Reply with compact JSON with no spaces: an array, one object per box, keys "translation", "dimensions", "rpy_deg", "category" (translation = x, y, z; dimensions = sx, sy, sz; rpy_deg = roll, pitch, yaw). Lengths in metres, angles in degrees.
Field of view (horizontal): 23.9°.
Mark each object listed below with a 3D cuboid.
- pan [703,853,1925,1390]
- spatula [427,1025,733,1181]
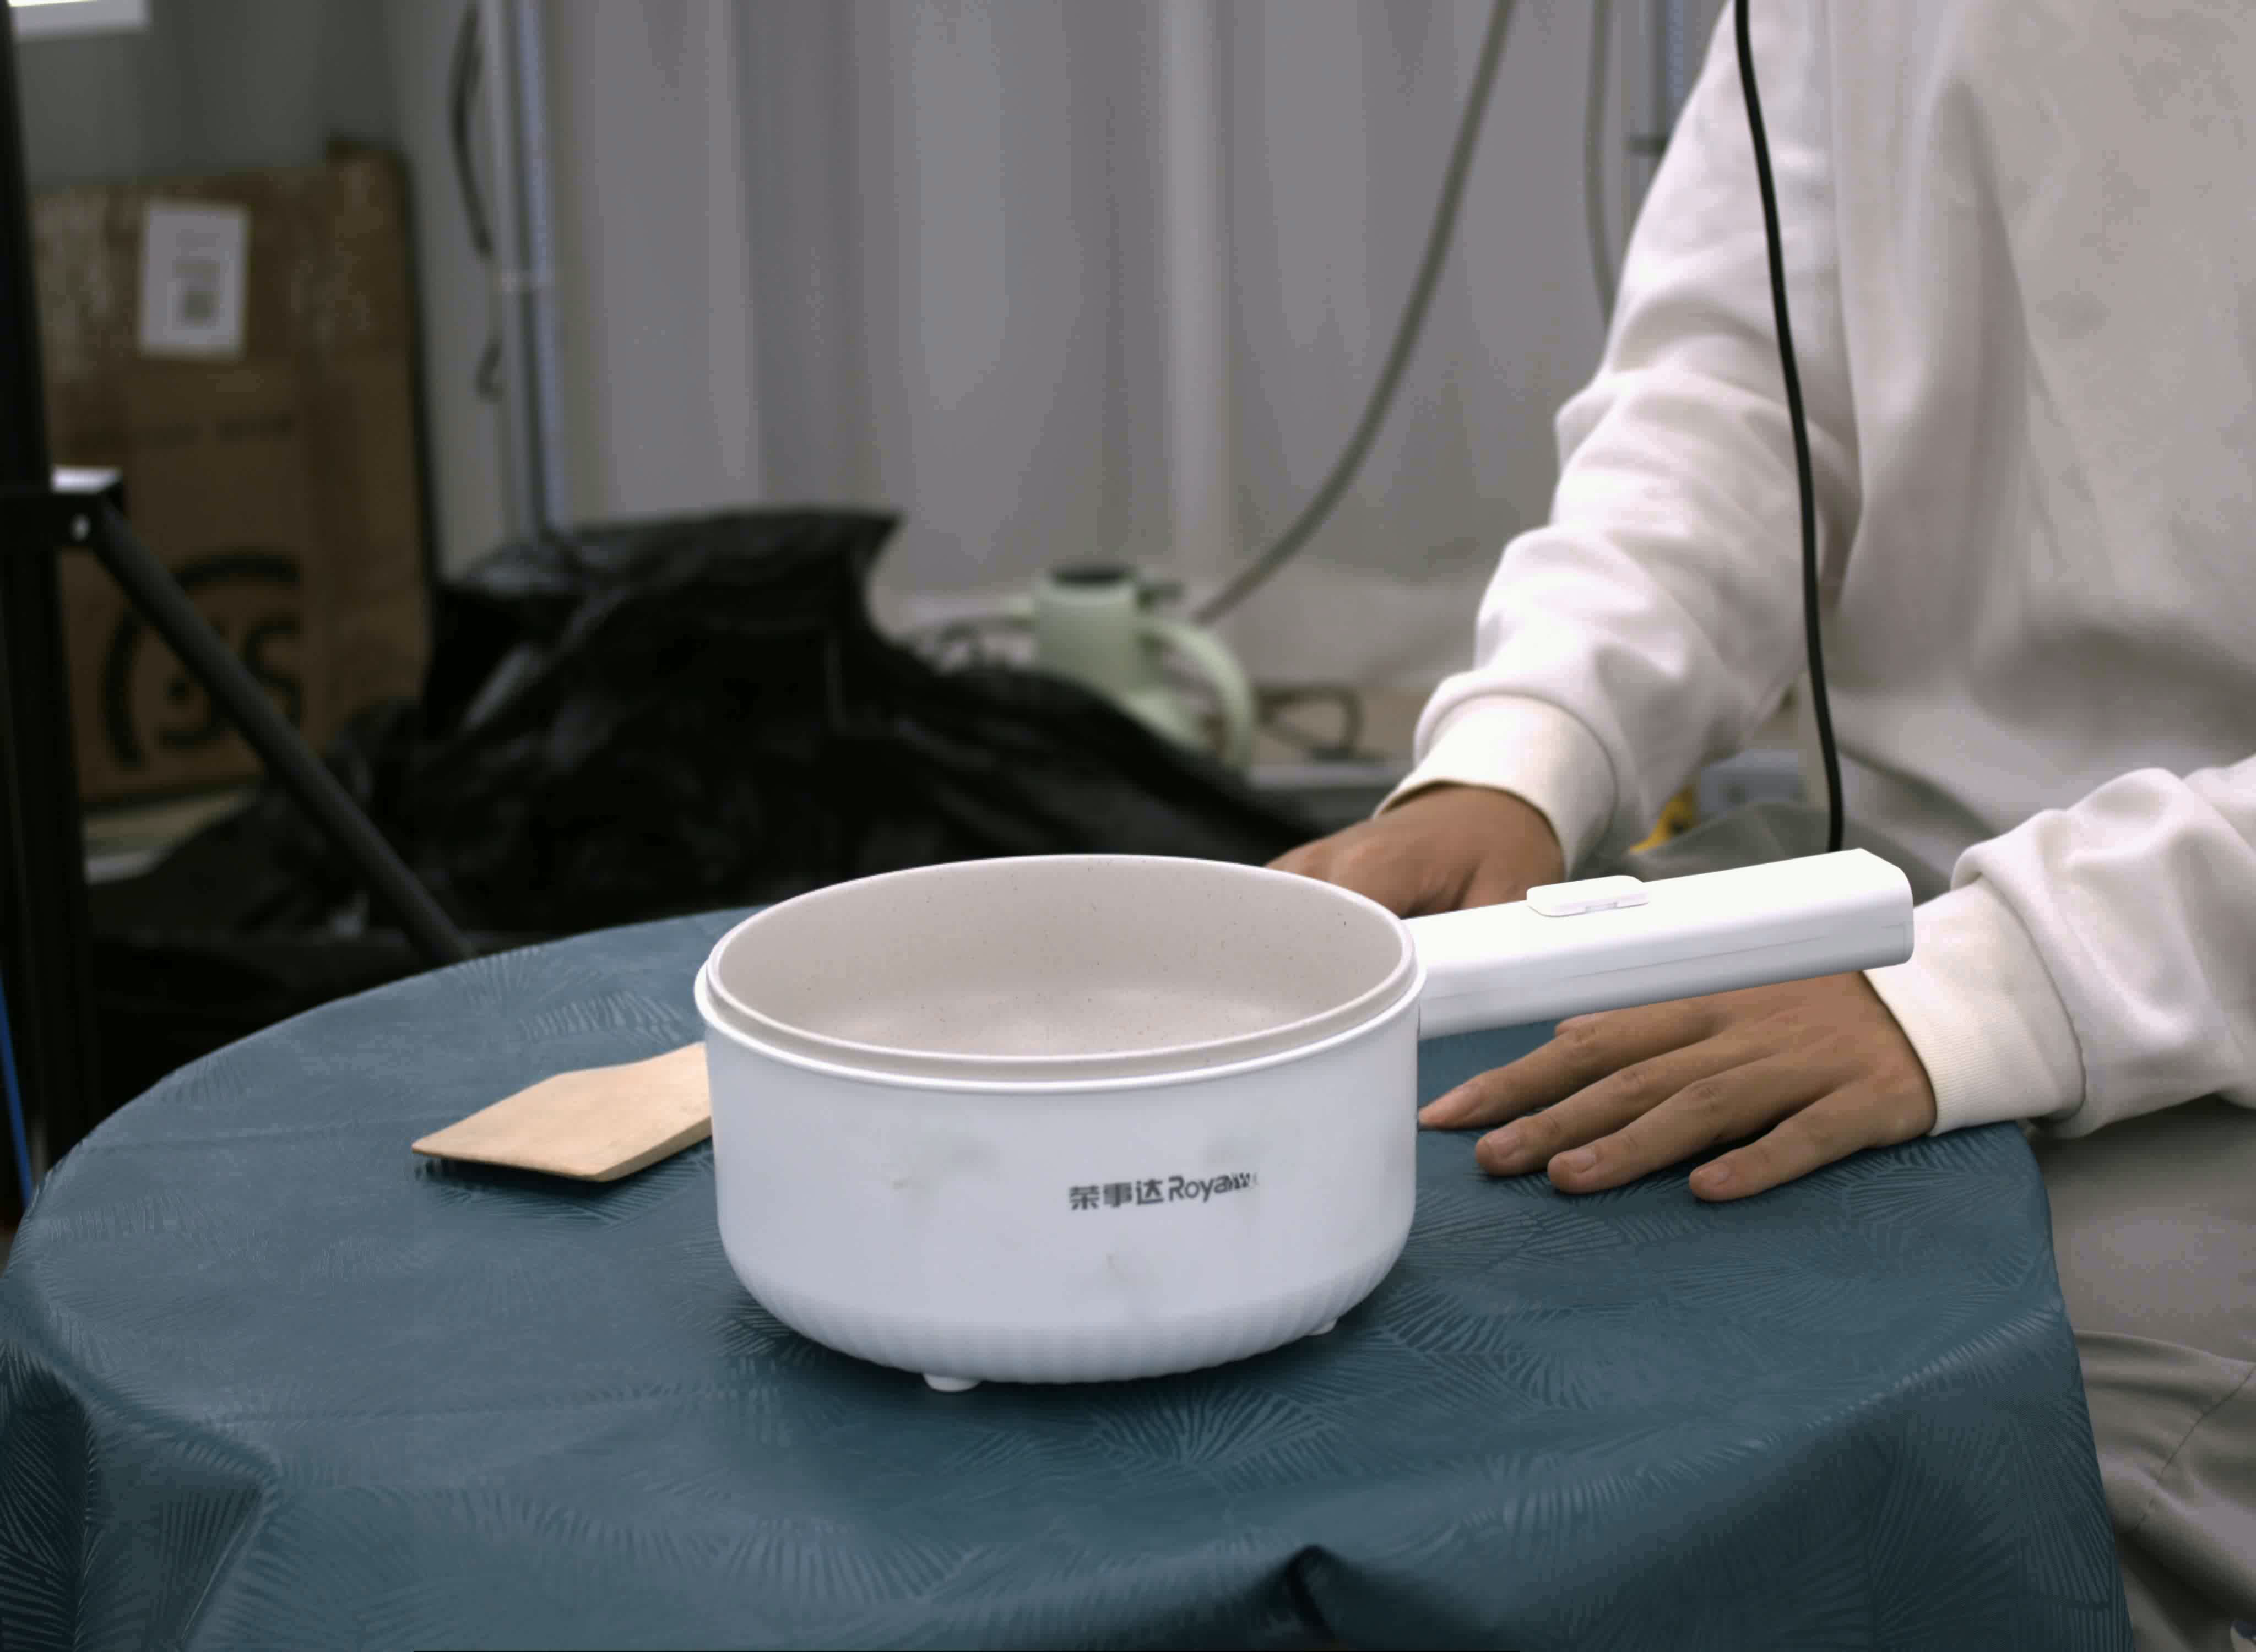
[{"translation":[0.056,0.075,1.489],"dimensions":[0.348,0.102,0.204],"rpy_deg":[-6,16,-17],"category":"pan"},{"translation":[-0.116,0.066,1.710],"dimensions":[0.073,0.010,0.288],"rpy_deg":[5,17,29],"category":"spatula"}]
